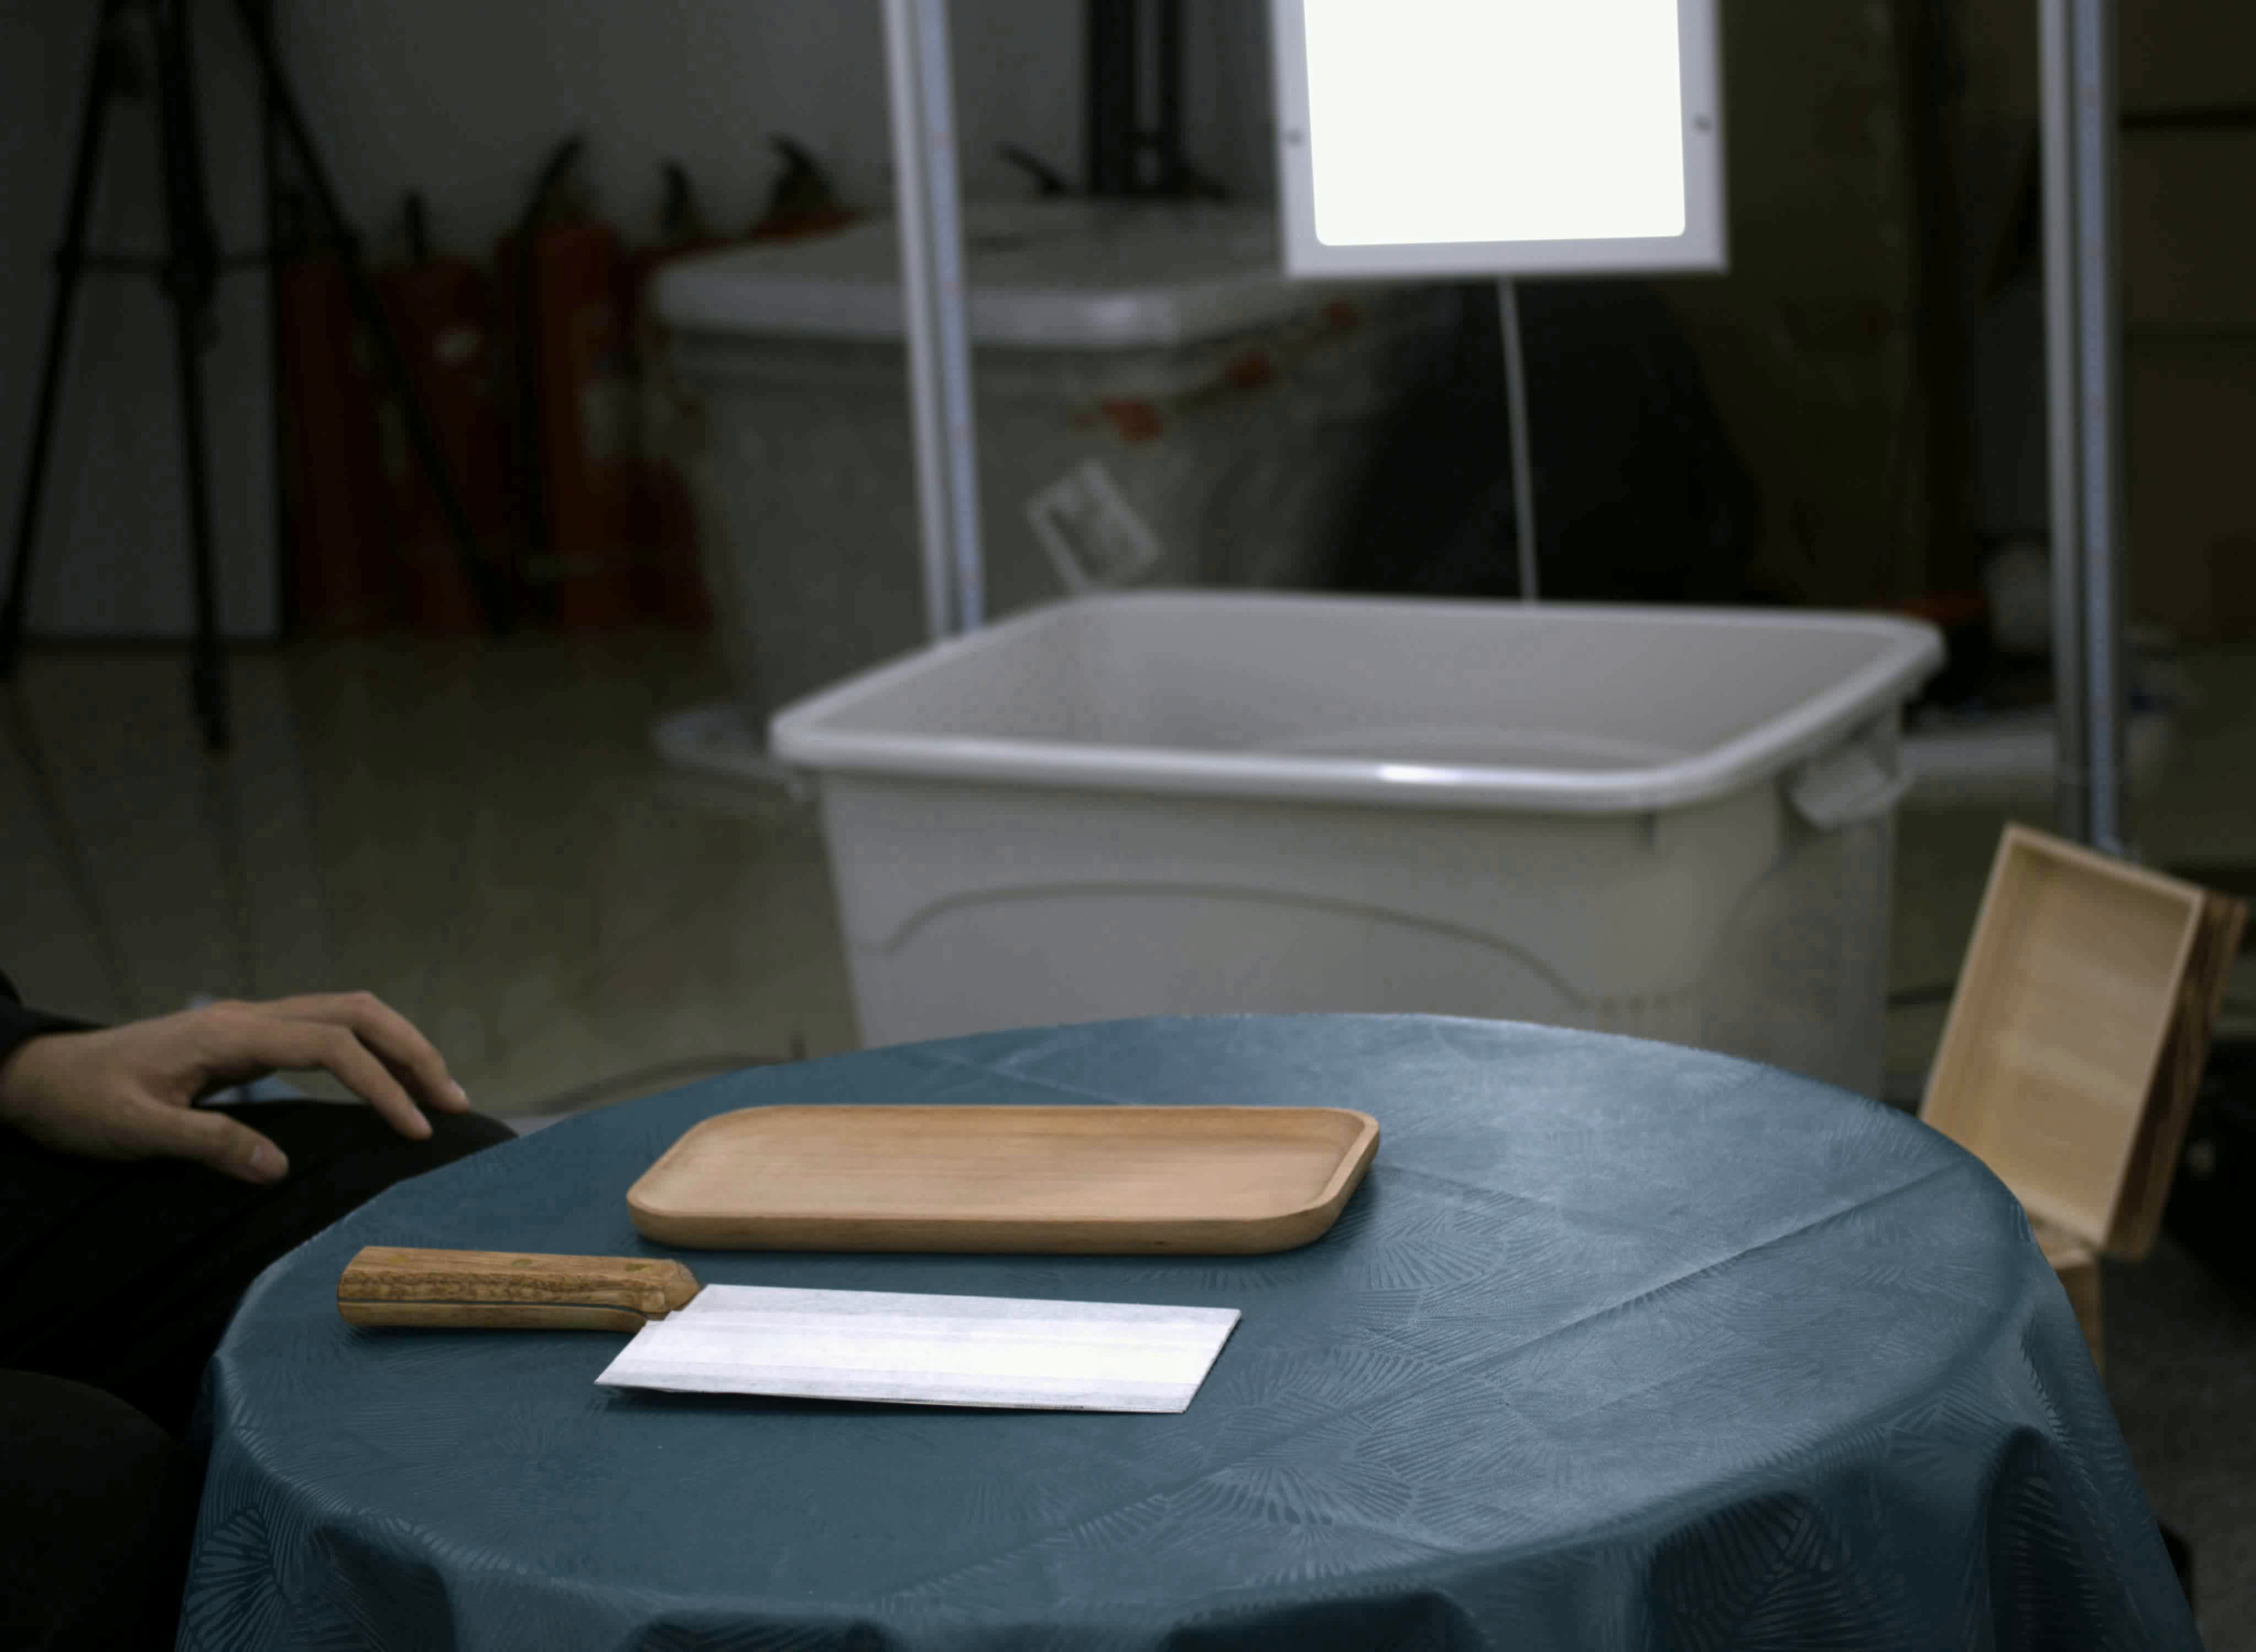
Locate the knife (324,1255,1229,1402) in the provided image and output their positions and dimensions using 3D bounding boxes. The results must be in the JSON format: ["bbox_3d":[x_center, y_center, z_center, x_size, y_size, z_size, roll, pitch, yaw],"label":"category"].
[{"bbox_3d":[-0.120,0.163,1.760,0.308,0.021,0.091,1,16,15],"label":"knife"}]

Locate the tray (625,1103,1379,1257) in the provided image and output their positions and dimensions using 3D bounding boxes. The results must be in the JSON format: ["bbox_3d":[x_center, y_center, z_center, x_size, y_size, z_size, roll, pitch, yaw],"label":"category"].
[{"bbox_3d":[-0.043,0.122,1.900,0.254,0.023,0.128,-2,12,18],"label":"tray"}]
